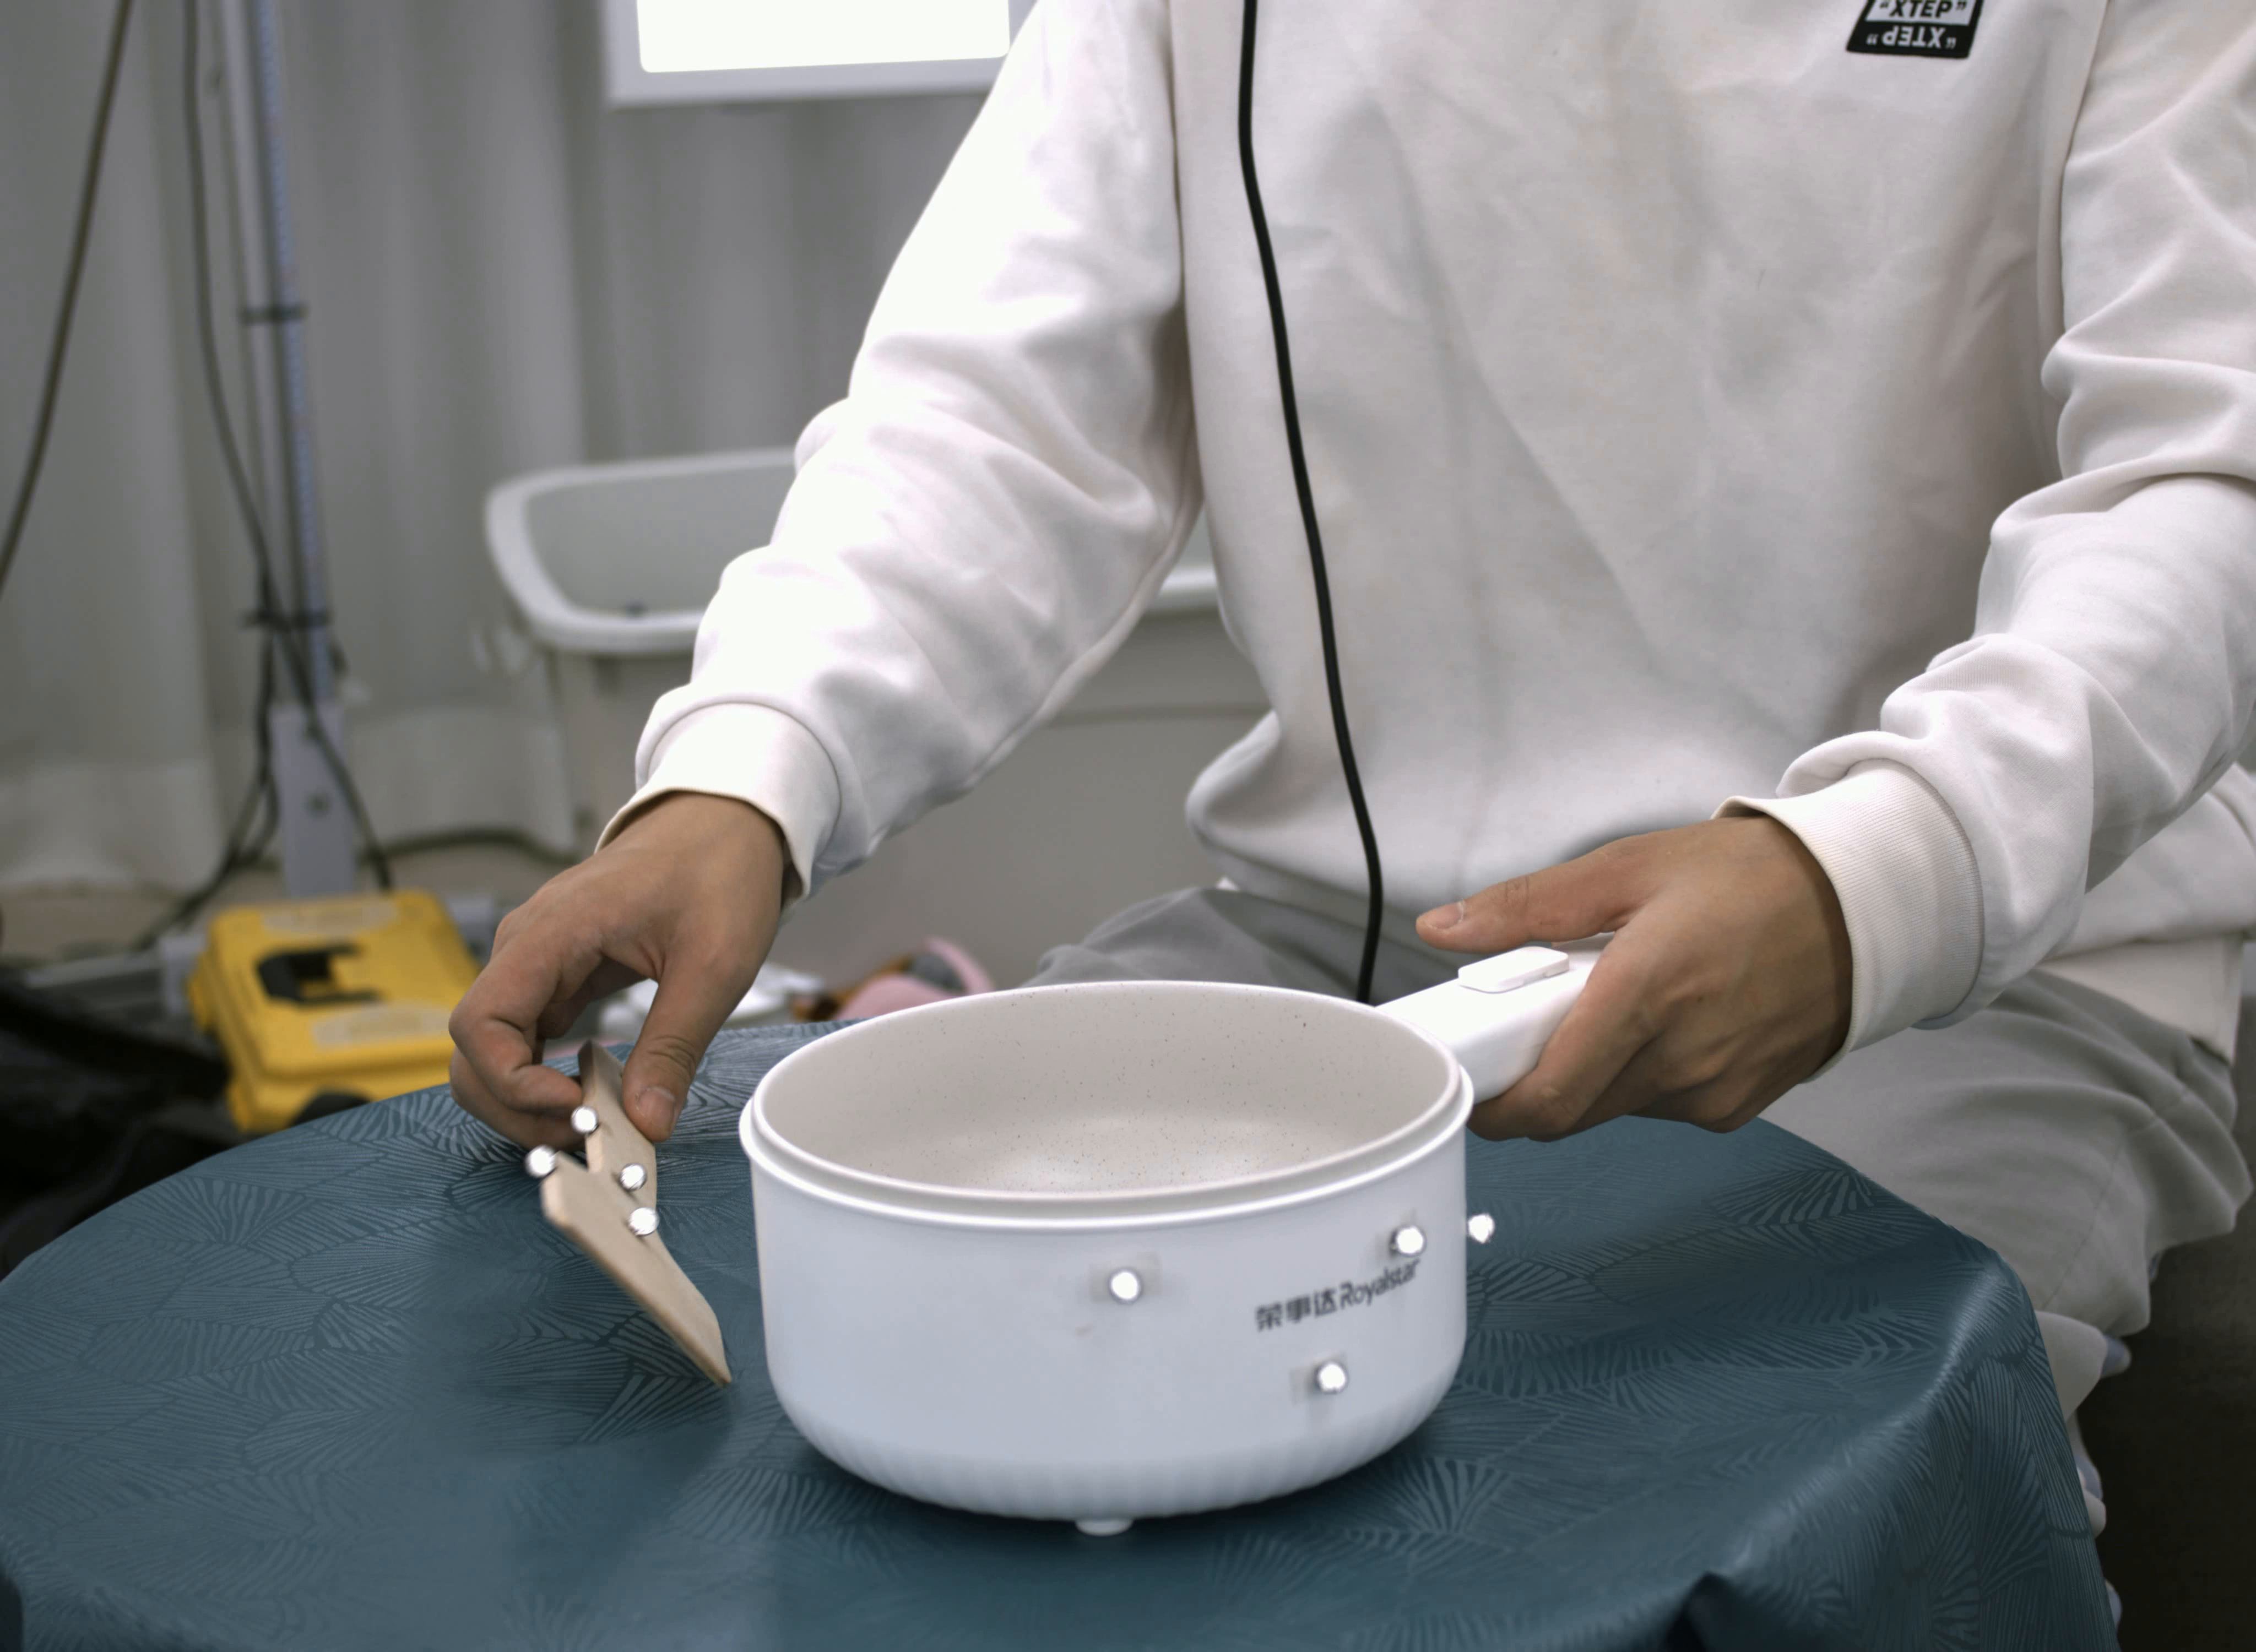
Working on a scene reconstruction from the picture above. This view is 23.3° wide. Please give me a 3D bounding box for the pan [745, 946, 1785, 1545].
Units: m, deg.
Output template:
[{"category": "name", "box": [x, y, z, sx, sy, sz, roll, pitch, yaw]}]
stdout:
[{"category": "pan", "box": [0.054, 0.112, 1.556, 0.353, 0.102, 0.202, -12, 14, -40]}]
